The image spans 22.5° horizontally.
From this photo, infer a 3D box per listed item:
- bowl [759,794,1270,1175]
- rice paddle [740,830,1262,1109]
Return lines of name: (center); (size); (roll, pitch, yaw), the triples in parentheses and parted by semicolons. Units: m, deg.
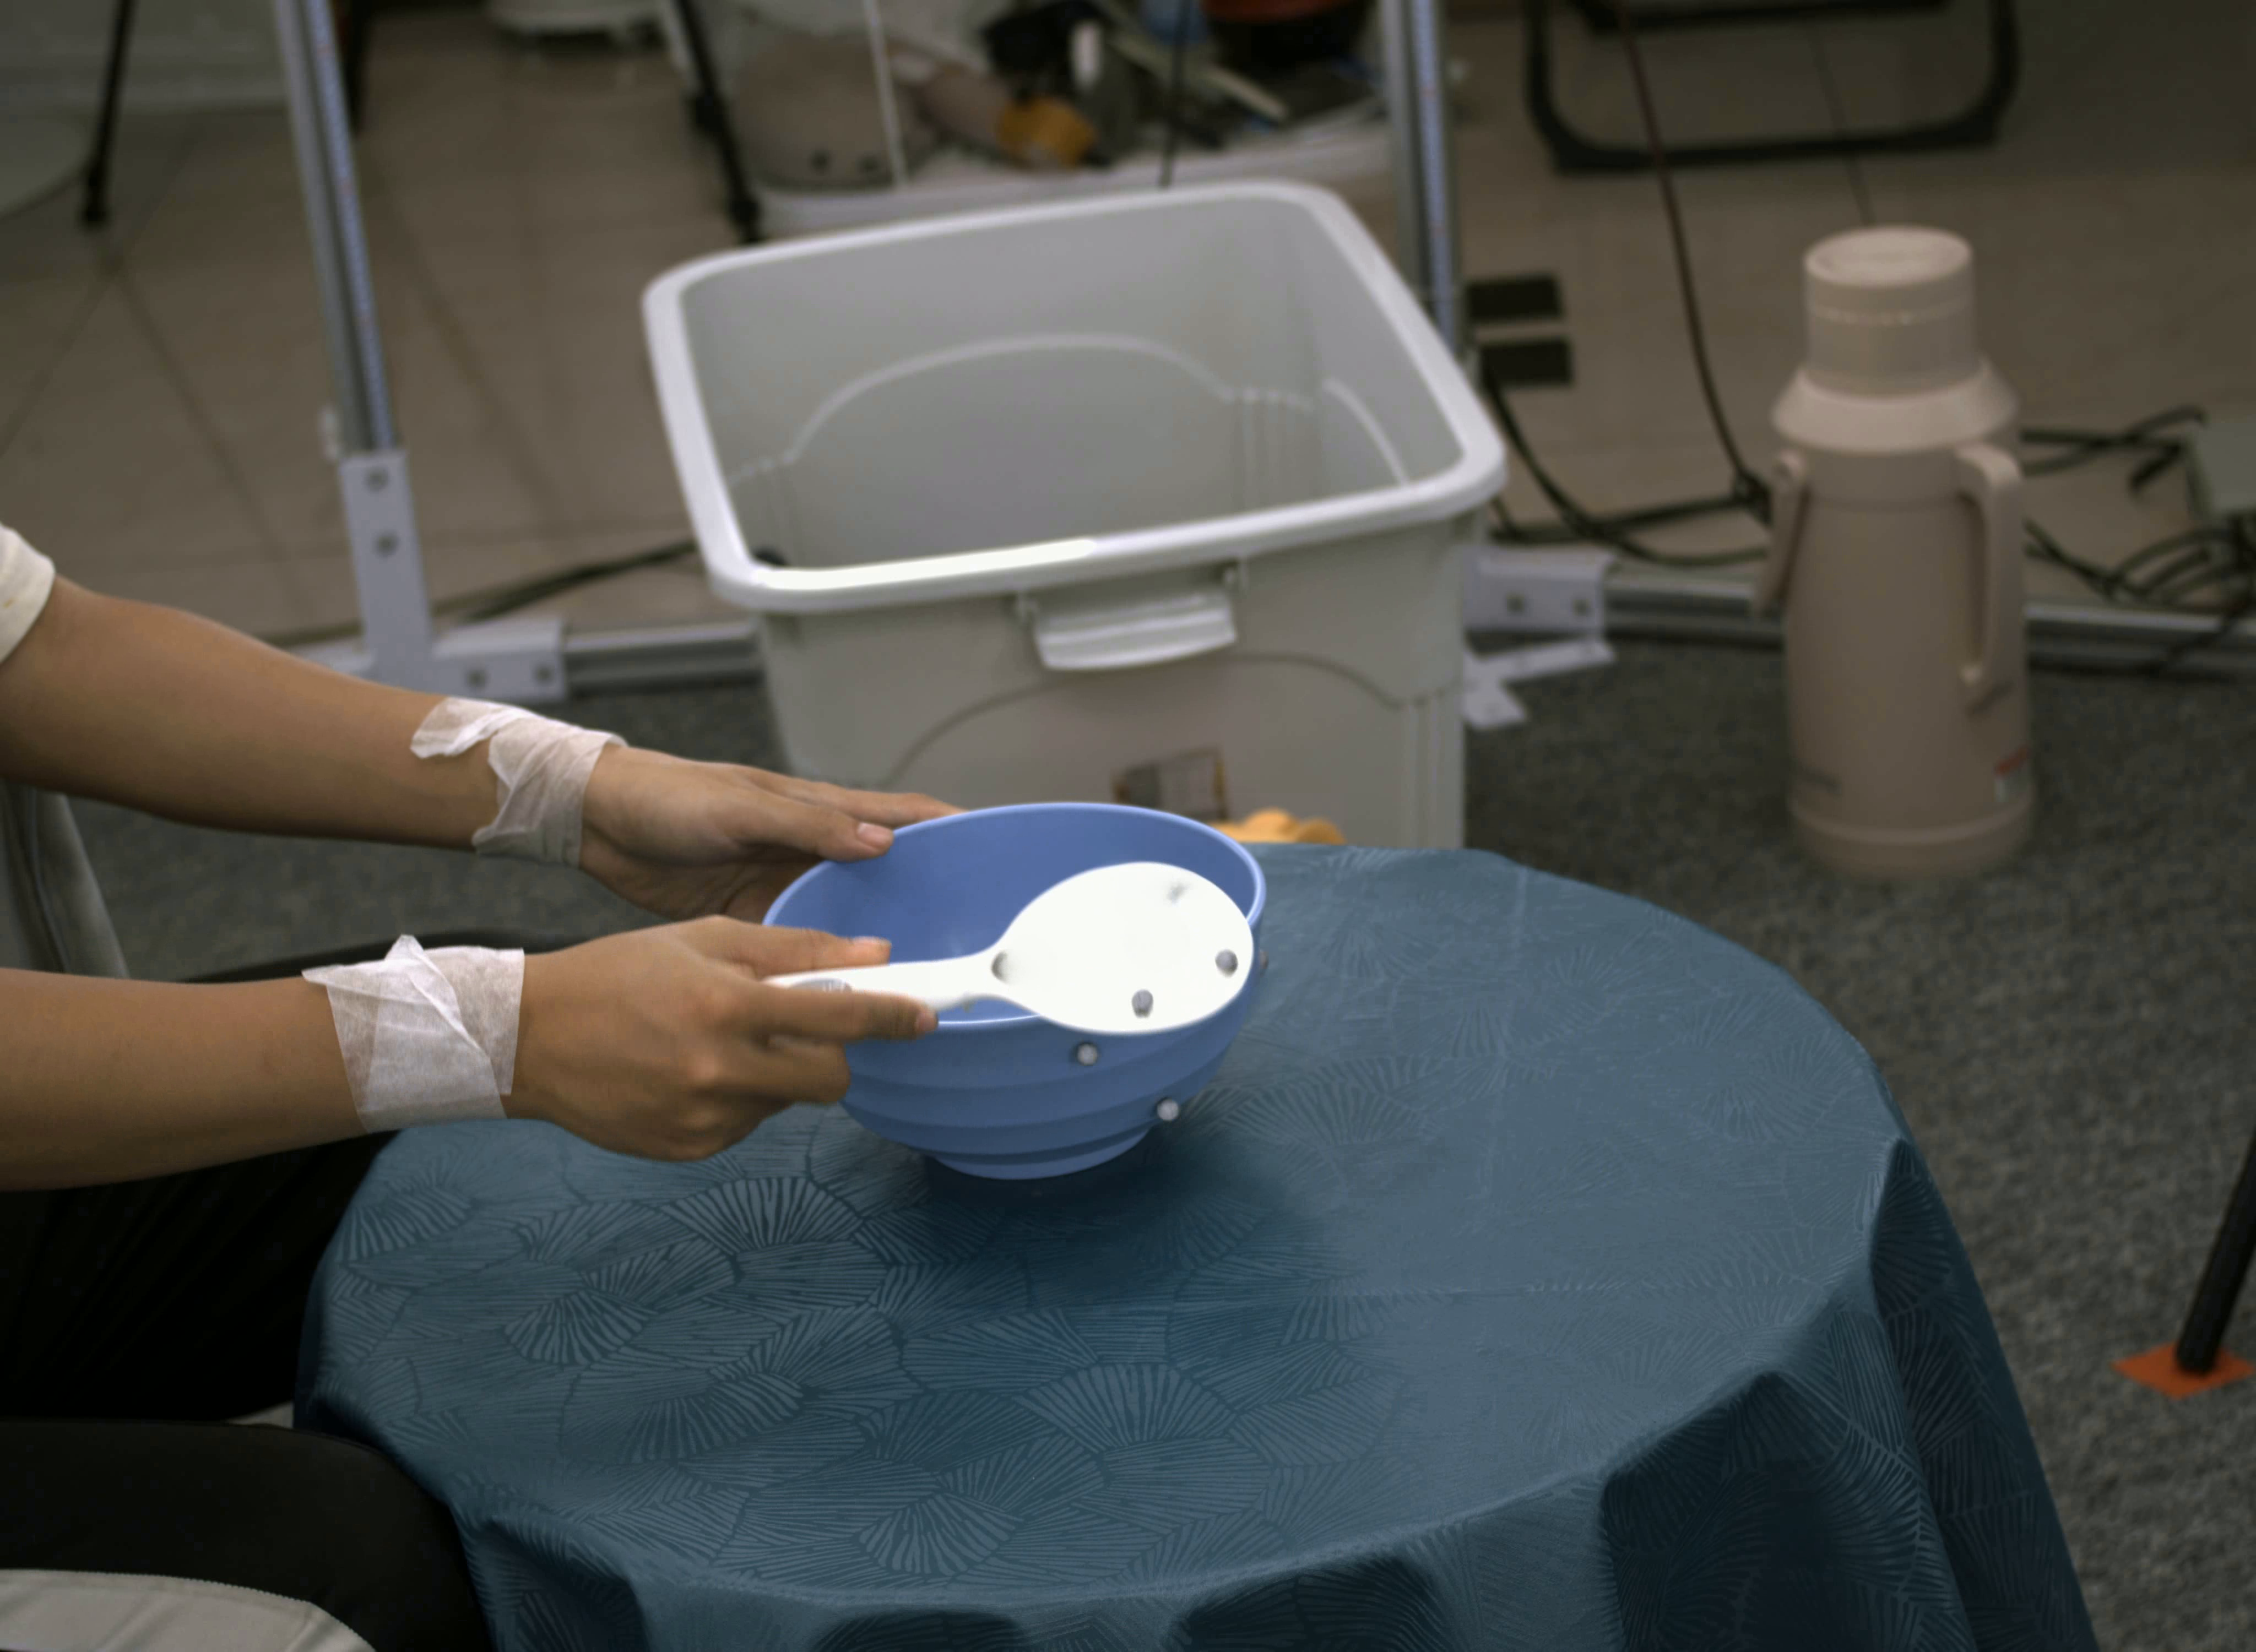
bowl: (-0.040, 0.072, 2.188); (0.196, 0.097, 0.193); (-4, 26, 2)
rice paddle: (-0.043, 0.050, 2.057); (0.204, 0.030, 0.068); (-22, 54, -18)
